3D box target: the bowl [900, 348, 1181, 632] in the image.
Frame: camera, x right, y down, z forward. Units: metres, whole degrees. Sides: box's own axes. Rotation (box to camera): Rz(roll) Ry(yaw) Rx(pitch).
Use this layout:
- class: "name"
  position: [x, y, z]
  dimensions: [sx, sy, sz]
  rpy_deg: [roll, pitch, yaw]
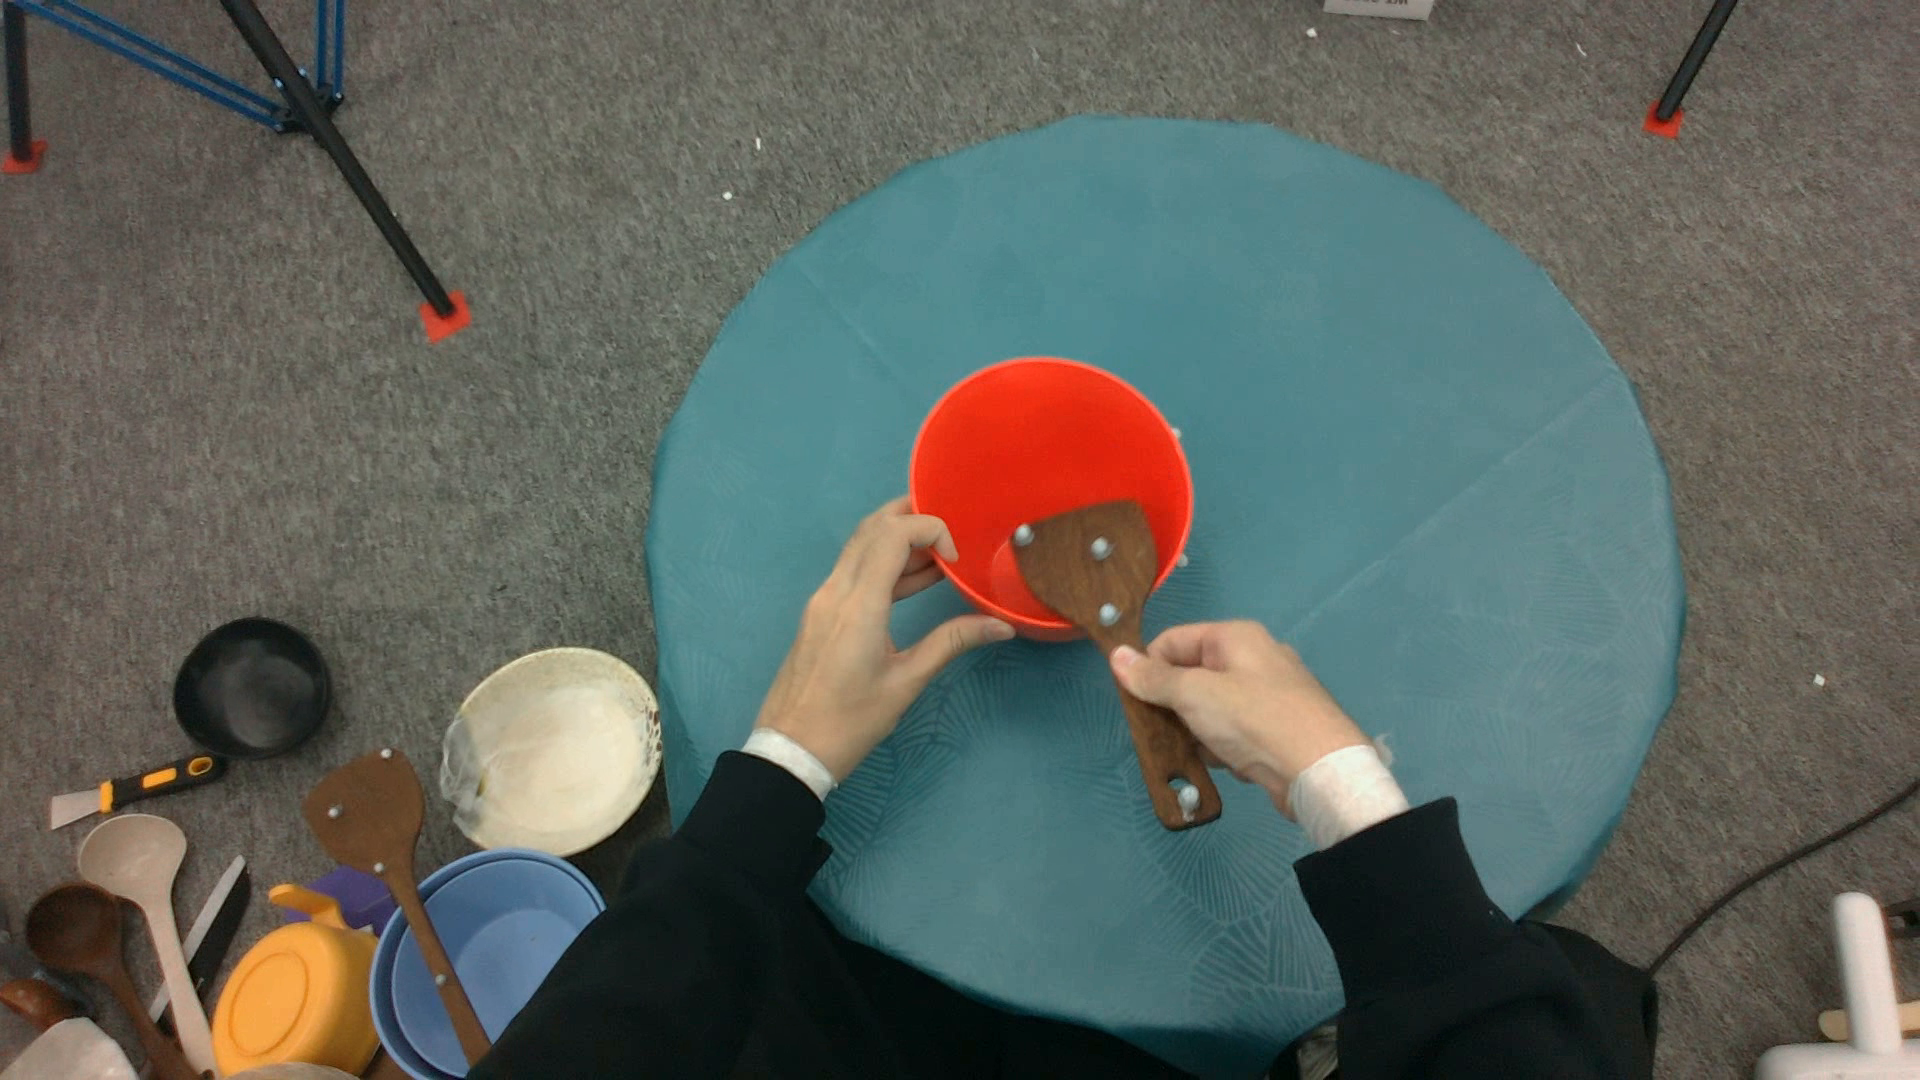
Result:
- class: "bowl"
  position: [0.040, -0.014, 0.745]
  dimensions: [0.148, 0.104, 0.148]
  rpy_deg: [2, 62, -4]

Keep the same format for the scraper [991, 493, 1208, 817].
- class: "scraper"
  position: [0.072, 0.048, 0.656]
  dimensions: [0.076, 0.011, 0.212]
  rpy_deg: [-14, 40, -4]
